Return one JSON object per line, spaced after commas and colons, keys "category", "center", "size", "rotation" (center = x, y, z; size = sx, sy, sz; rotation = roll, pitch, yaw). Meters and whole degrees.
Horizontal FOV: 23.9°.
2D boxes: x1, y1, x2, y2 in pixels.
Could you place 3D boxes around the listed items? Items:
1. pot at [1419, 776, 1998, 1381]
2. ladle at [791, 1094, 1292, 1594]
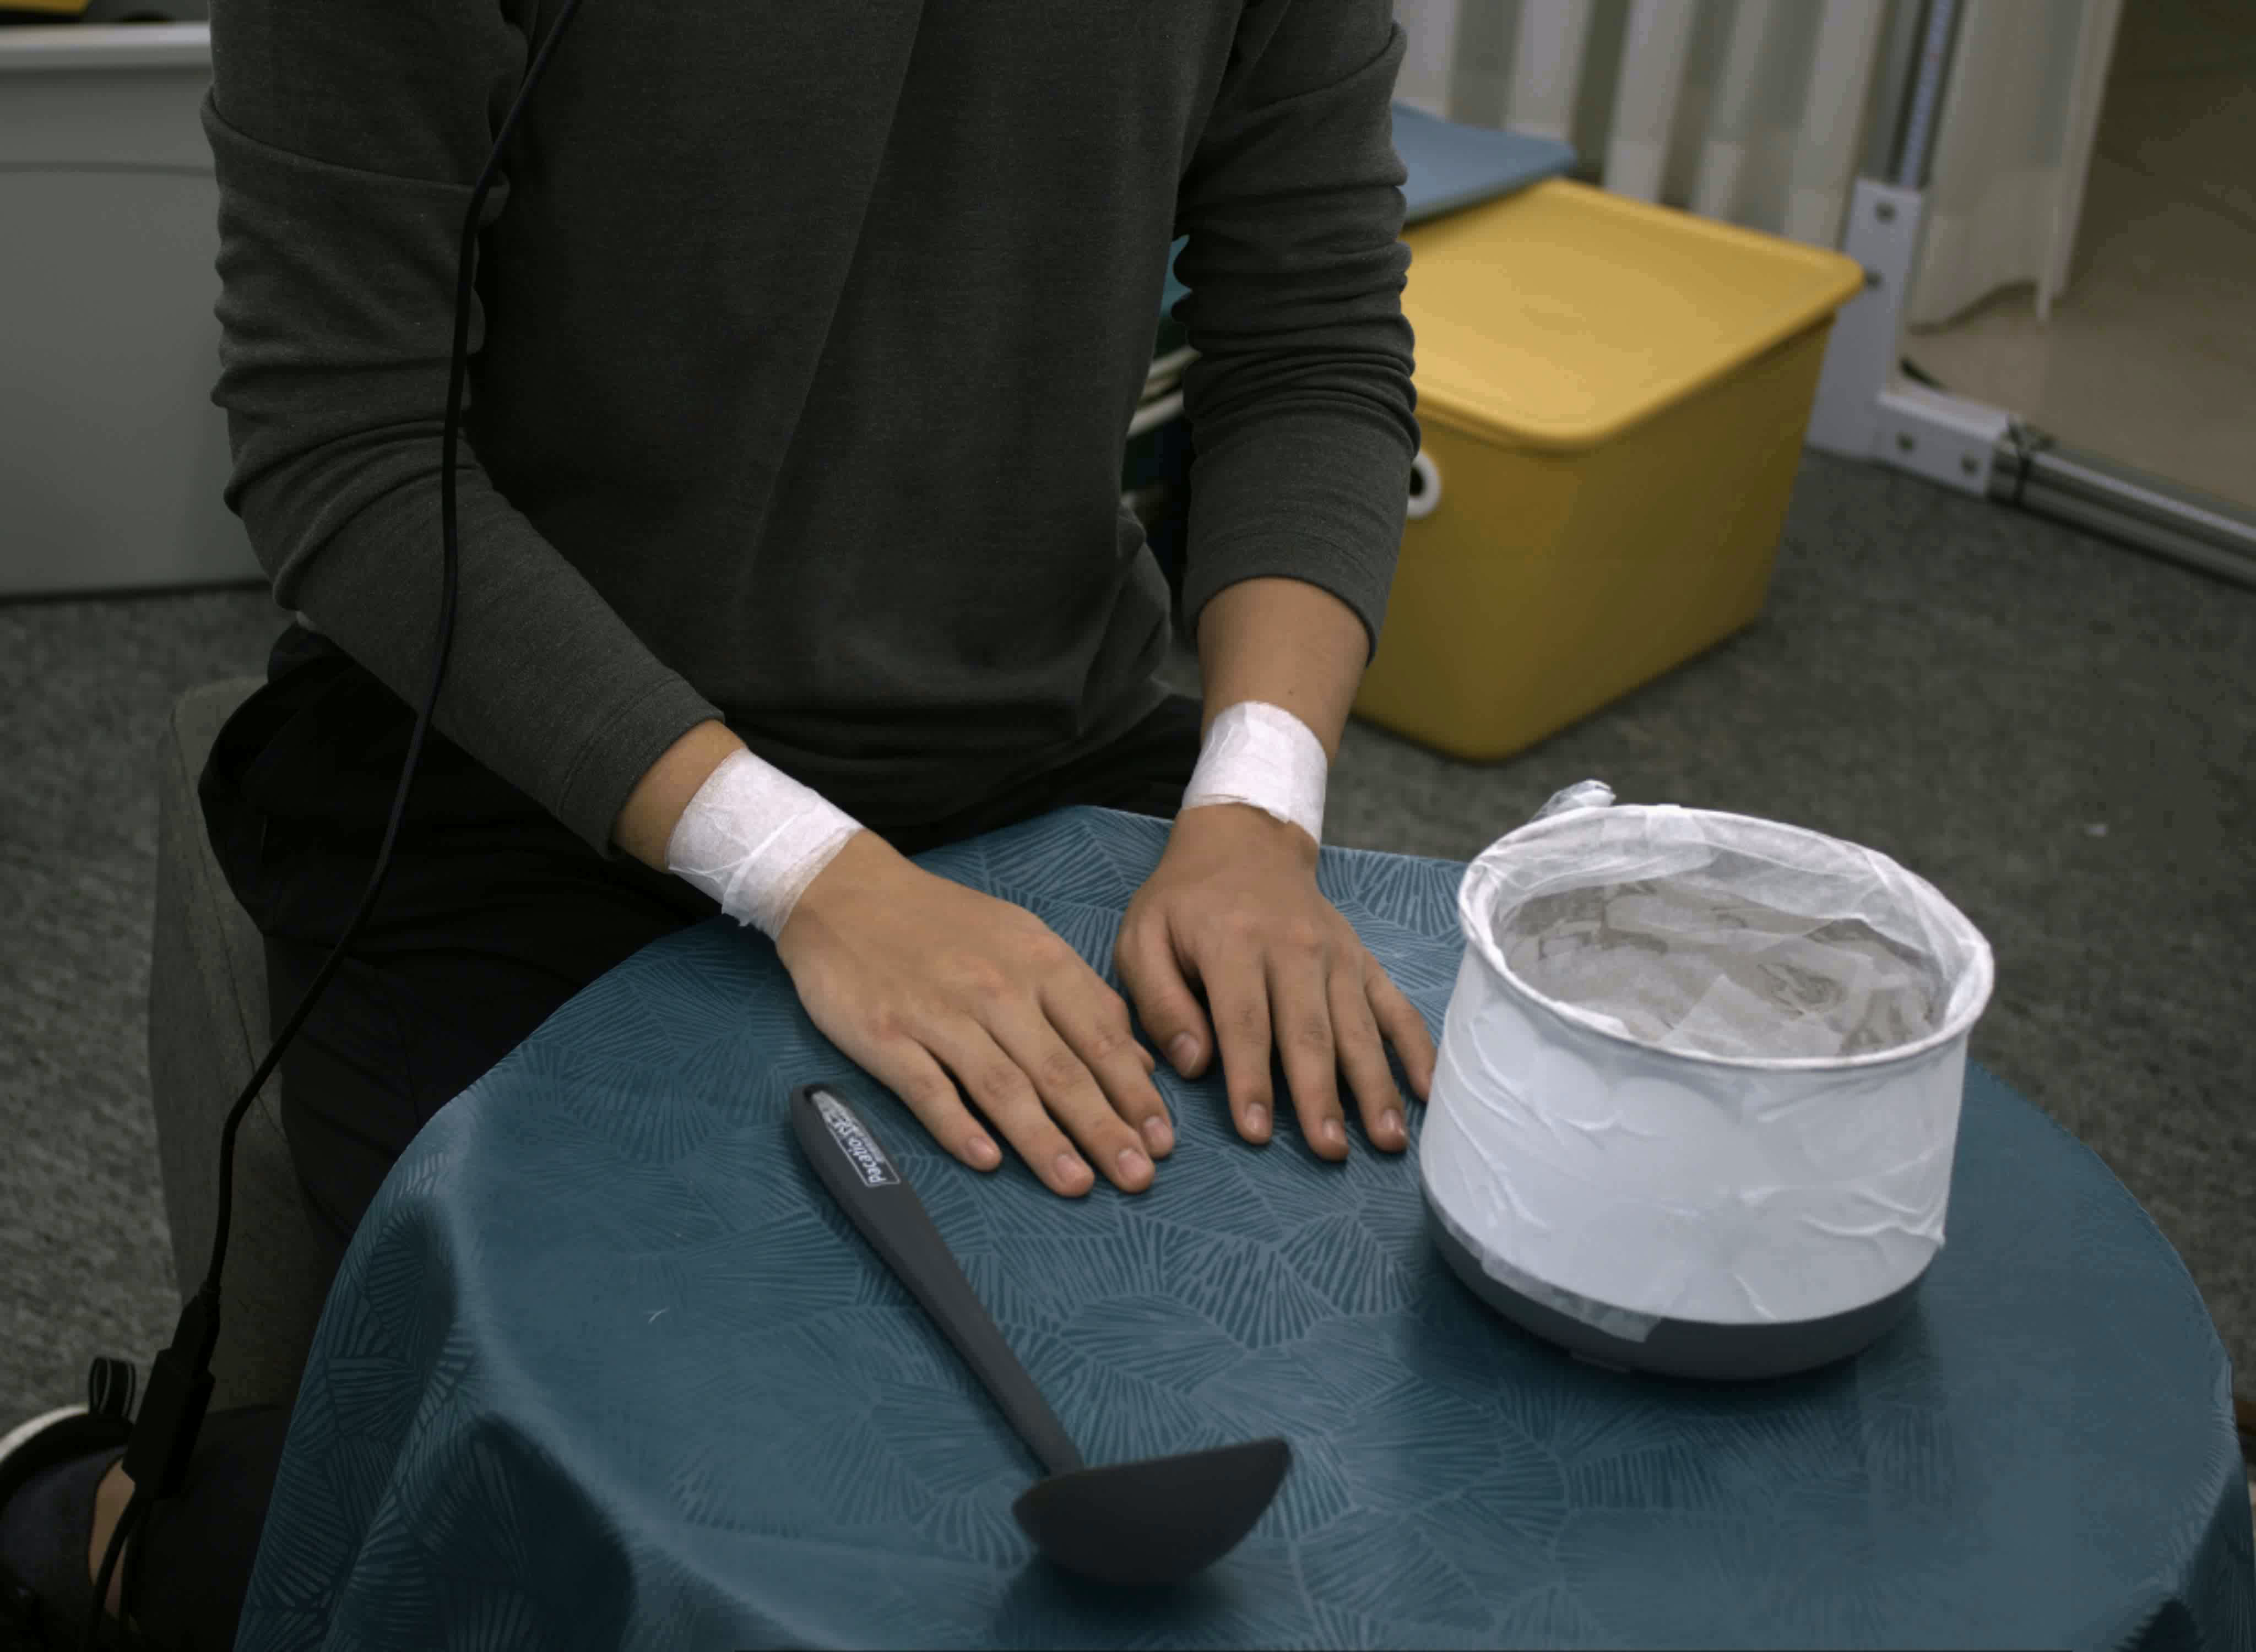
{"category": "pot", "center": [0.178, 0.077, 1.786], "size": [0.177, 0.136, 0.236], "rotation": [-5, 29, -23]}
{"category": "ladle", "center": [-0.045, 0.145, 1.684], "size": [0.085, 0.064, 0.317], "rotation": [-1, 27, -25]}
